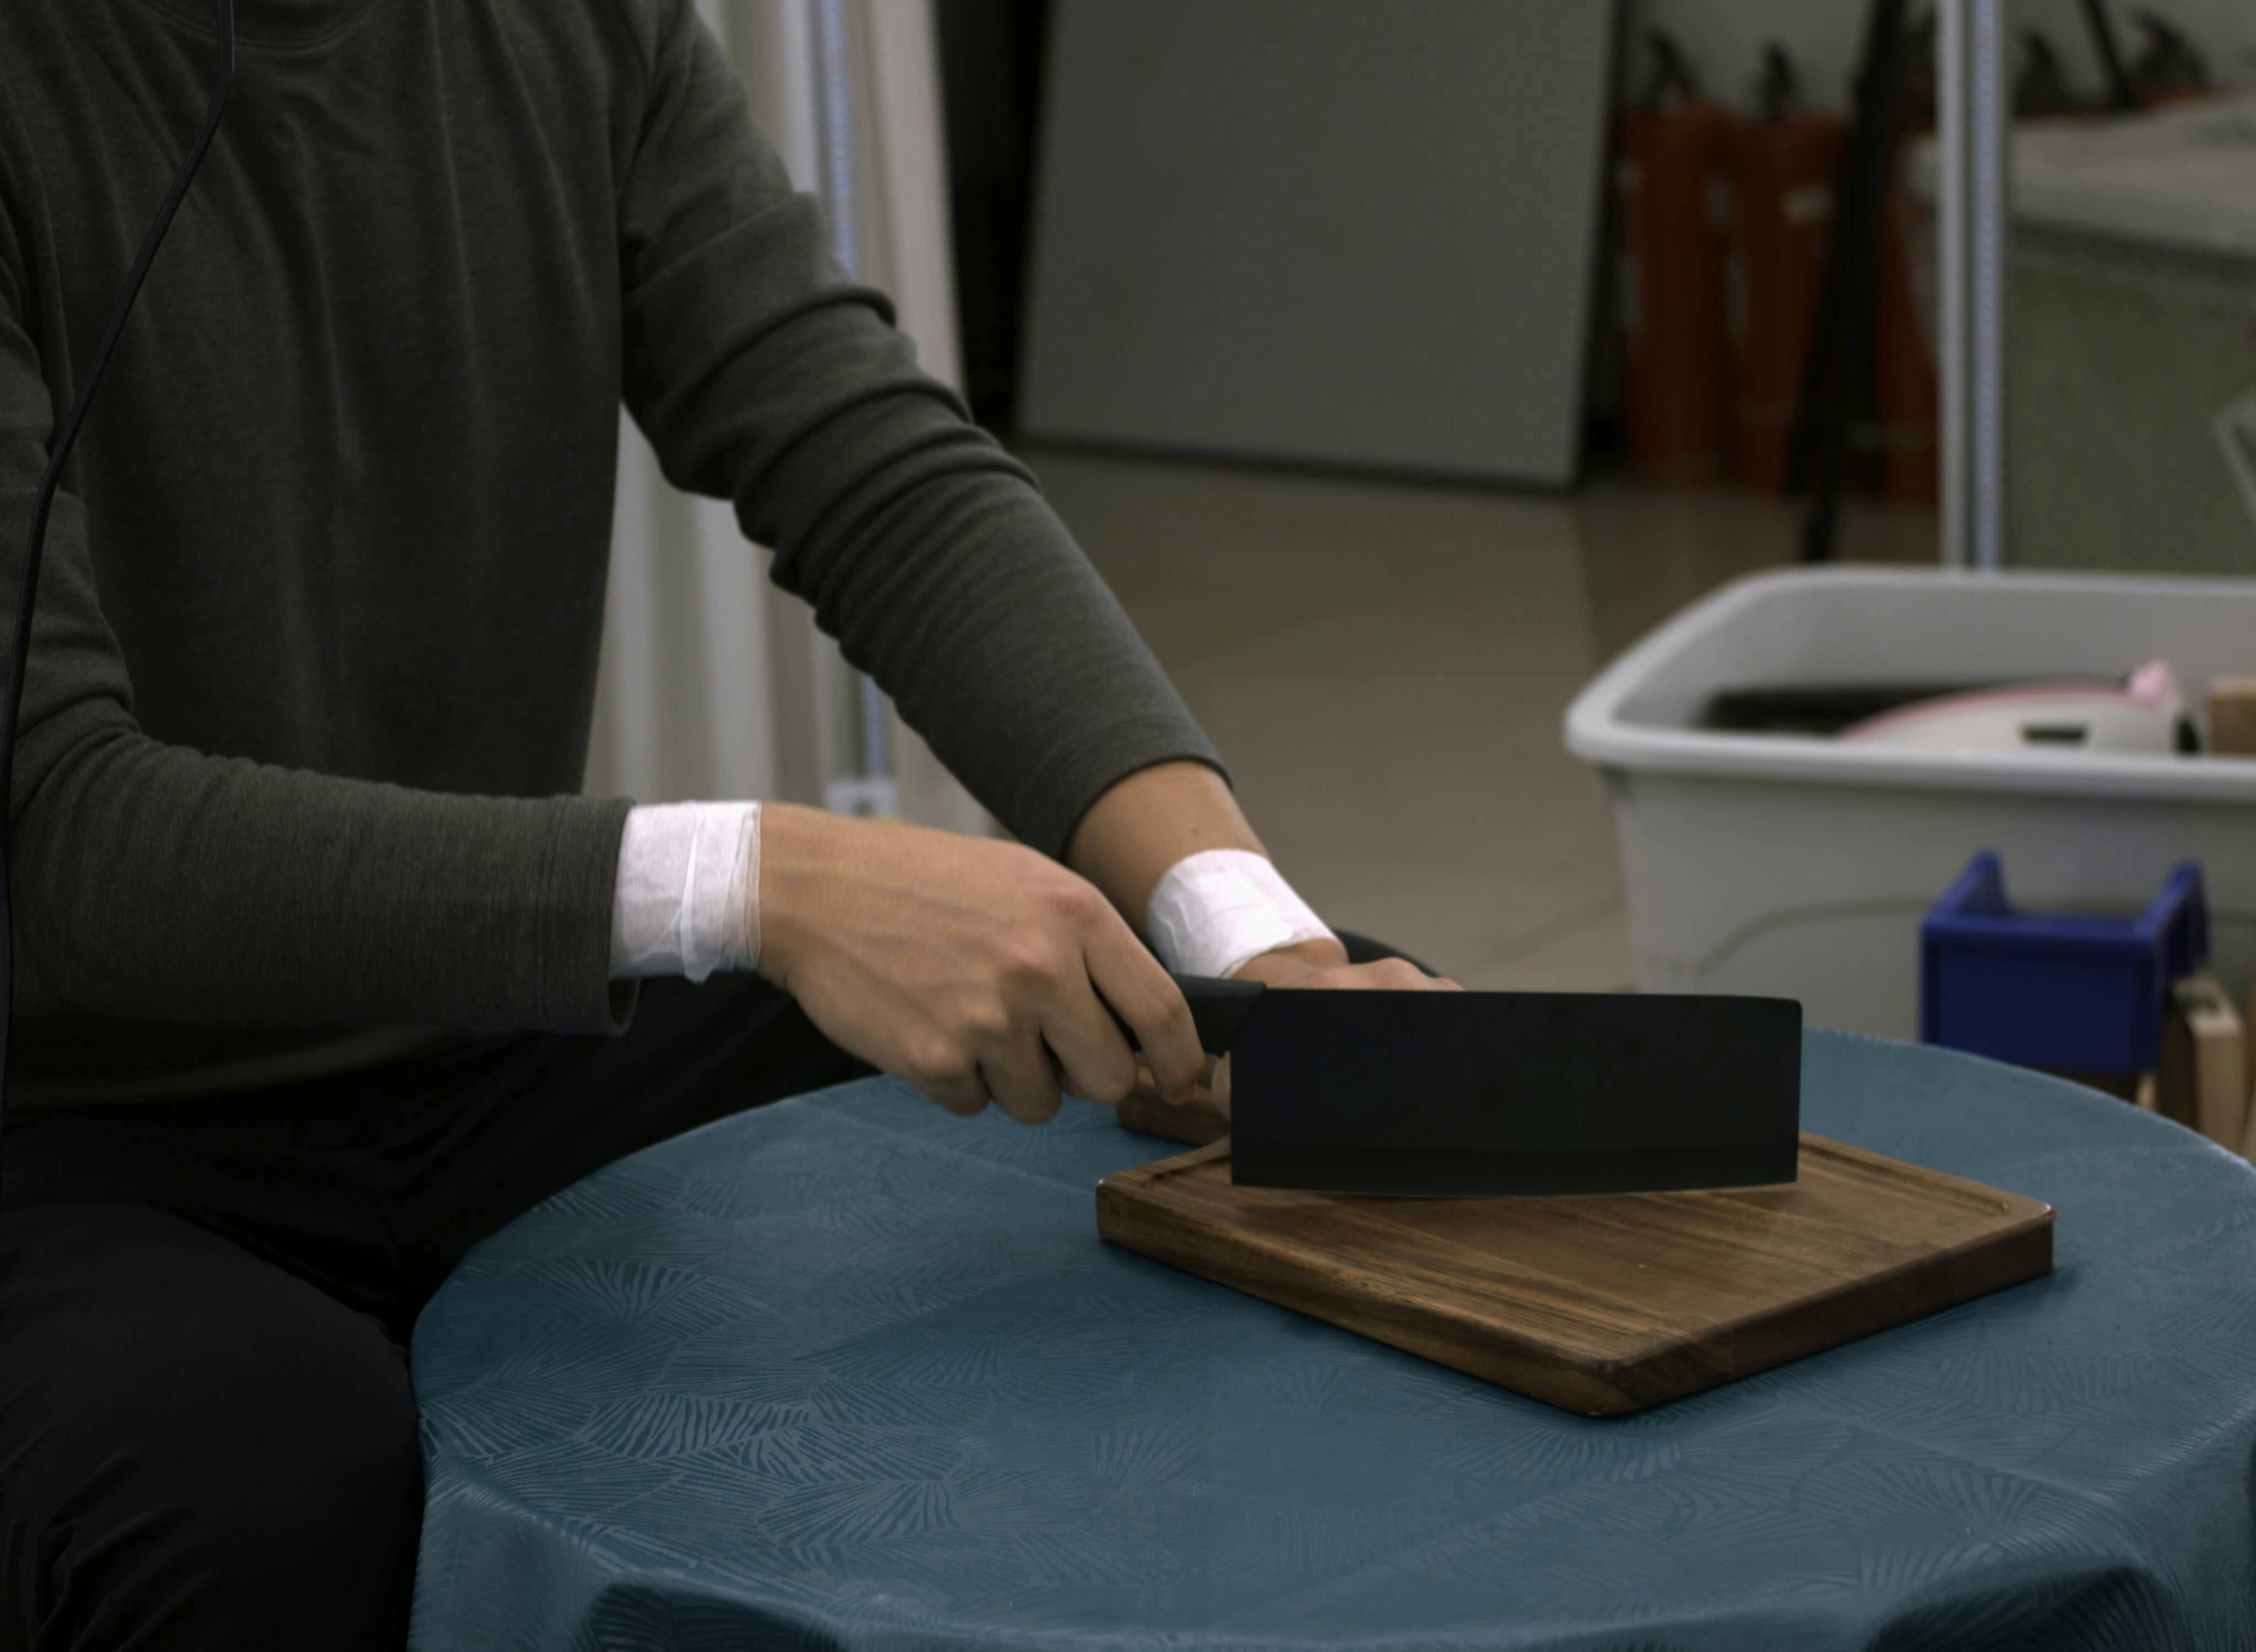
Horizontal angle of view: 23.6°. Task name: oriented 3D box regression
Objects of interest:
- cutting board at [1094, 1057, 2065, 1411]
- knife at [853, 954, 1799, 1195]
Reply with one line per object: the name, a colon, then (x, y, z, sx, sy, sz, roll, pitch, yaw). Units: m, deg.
cutting board: (0.108, 0.116, 1.720, 0.196, 0.023, 0.356, -13, 16, -35)
knife: (0.062, 0.076, 1.692, 0.299, 0.082, 0.021, 5, 7, 6)
